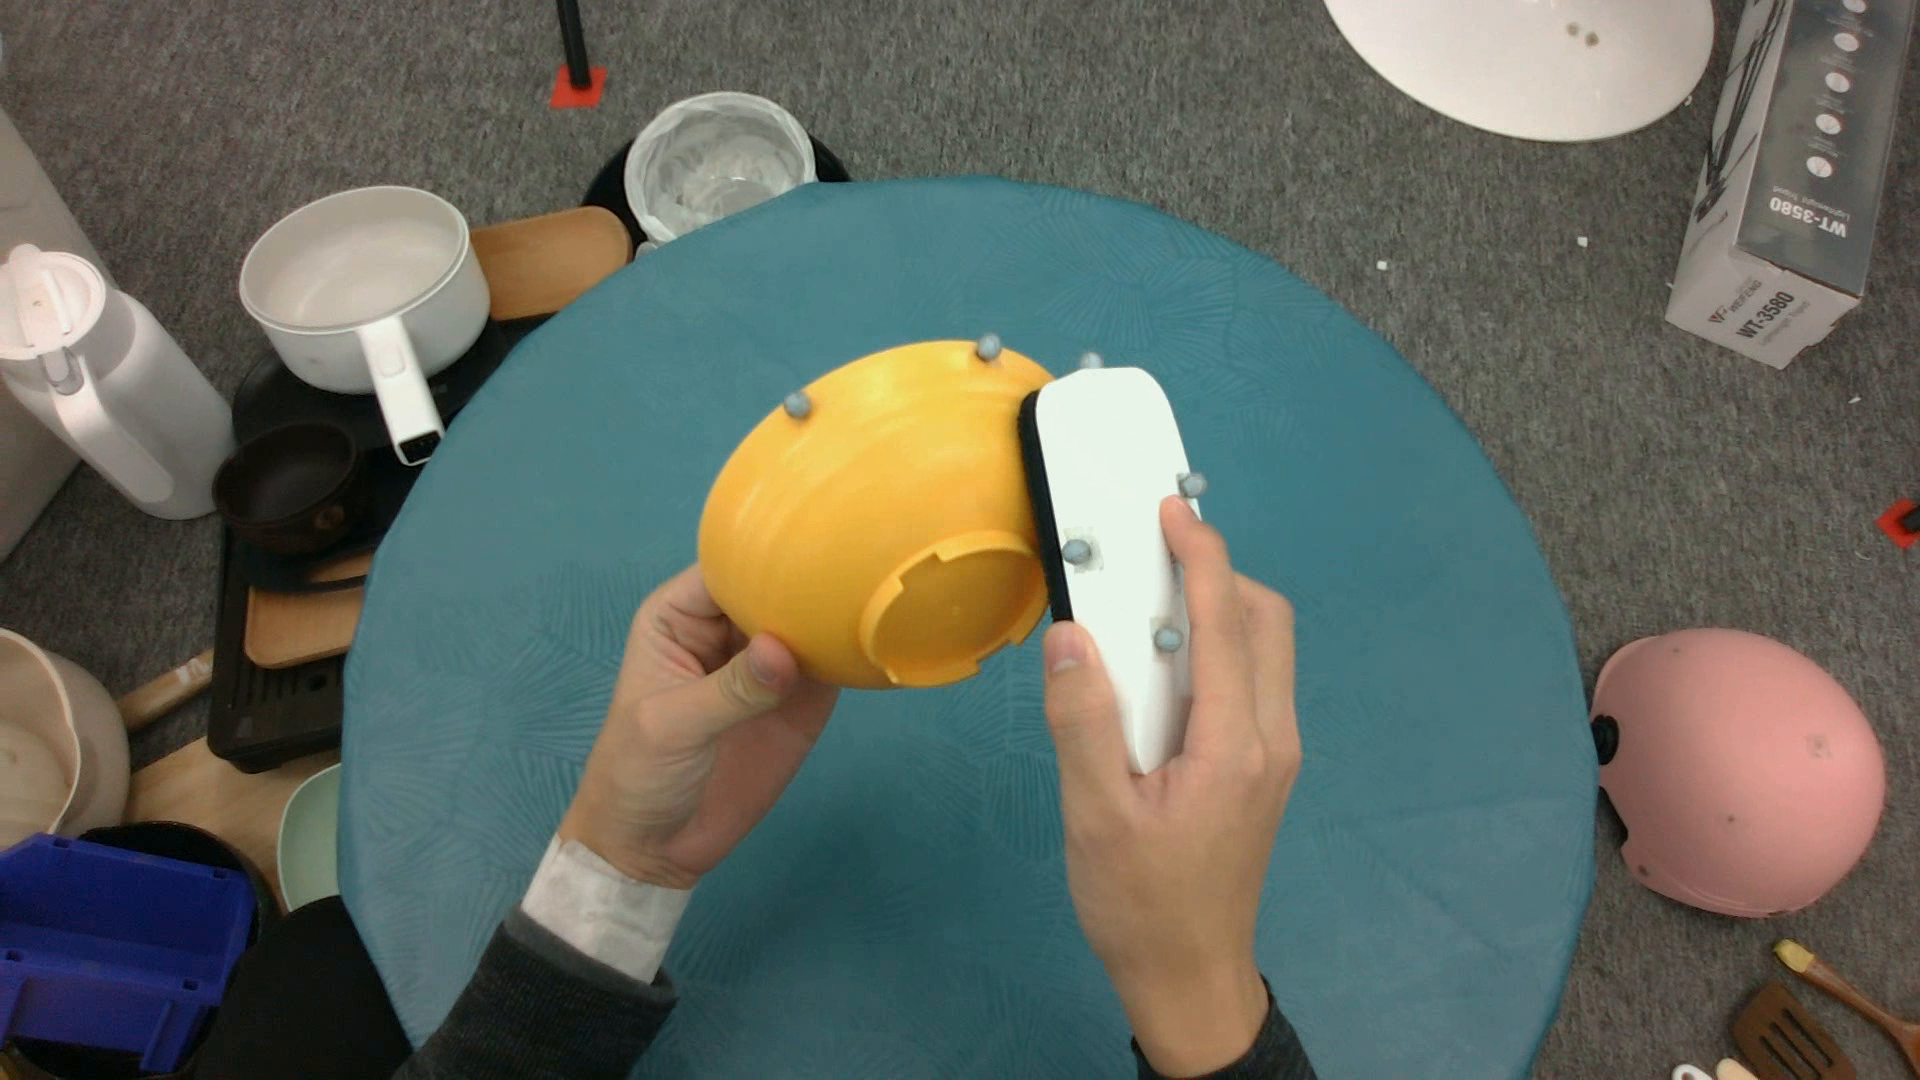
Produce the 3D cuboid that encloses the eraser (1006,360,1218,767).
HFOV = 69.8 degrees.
[{"bbox_3d":[0.052,0.007,0.452,0.063,0.034,0.131,-8,87,-52],"label":"eraser"}]

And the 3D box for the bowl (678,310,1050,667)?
[{"bbox_3d":[-0.018,-0.002,0.469,0.145,0.144,0.060,-21,50,-14],"label":"bowl"}]
